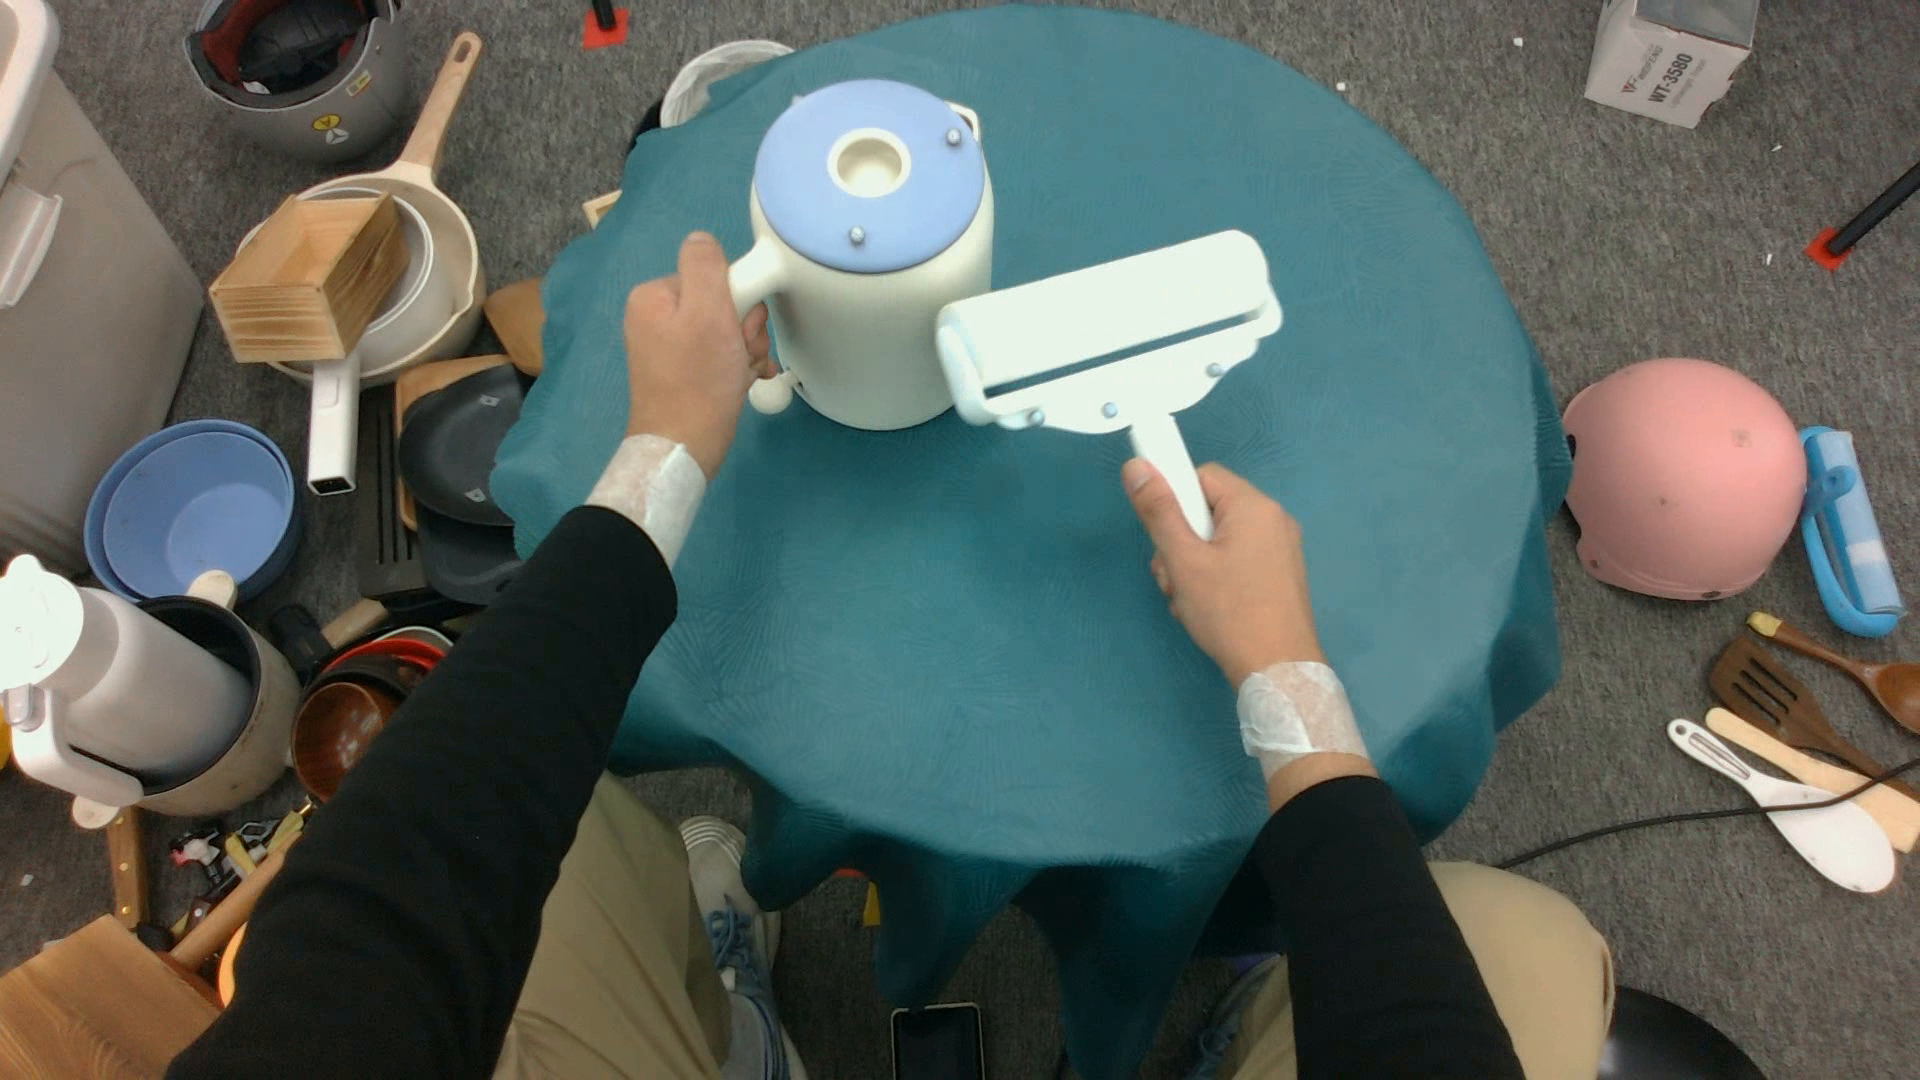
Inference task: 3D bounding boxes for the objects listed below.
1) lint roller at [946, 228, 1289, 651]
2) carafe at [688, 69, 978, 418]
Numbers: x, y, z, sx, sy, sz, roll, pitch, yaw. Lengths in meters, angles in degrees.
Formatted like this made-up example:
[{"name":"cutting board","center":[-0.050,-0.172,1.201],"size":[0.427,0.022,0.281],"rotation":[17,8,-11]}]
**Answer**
[{"name":"lint roller","center":[0.113,-0.050,0.737],"size":[0.203,0.048,0.225],"rotation":[-17,84,-27]},{"name":"carafe","center":[-0.075,-0.148,0.777],"size":[0.191,0.182,0.132],"rotation":[-40,73,-14]}]
